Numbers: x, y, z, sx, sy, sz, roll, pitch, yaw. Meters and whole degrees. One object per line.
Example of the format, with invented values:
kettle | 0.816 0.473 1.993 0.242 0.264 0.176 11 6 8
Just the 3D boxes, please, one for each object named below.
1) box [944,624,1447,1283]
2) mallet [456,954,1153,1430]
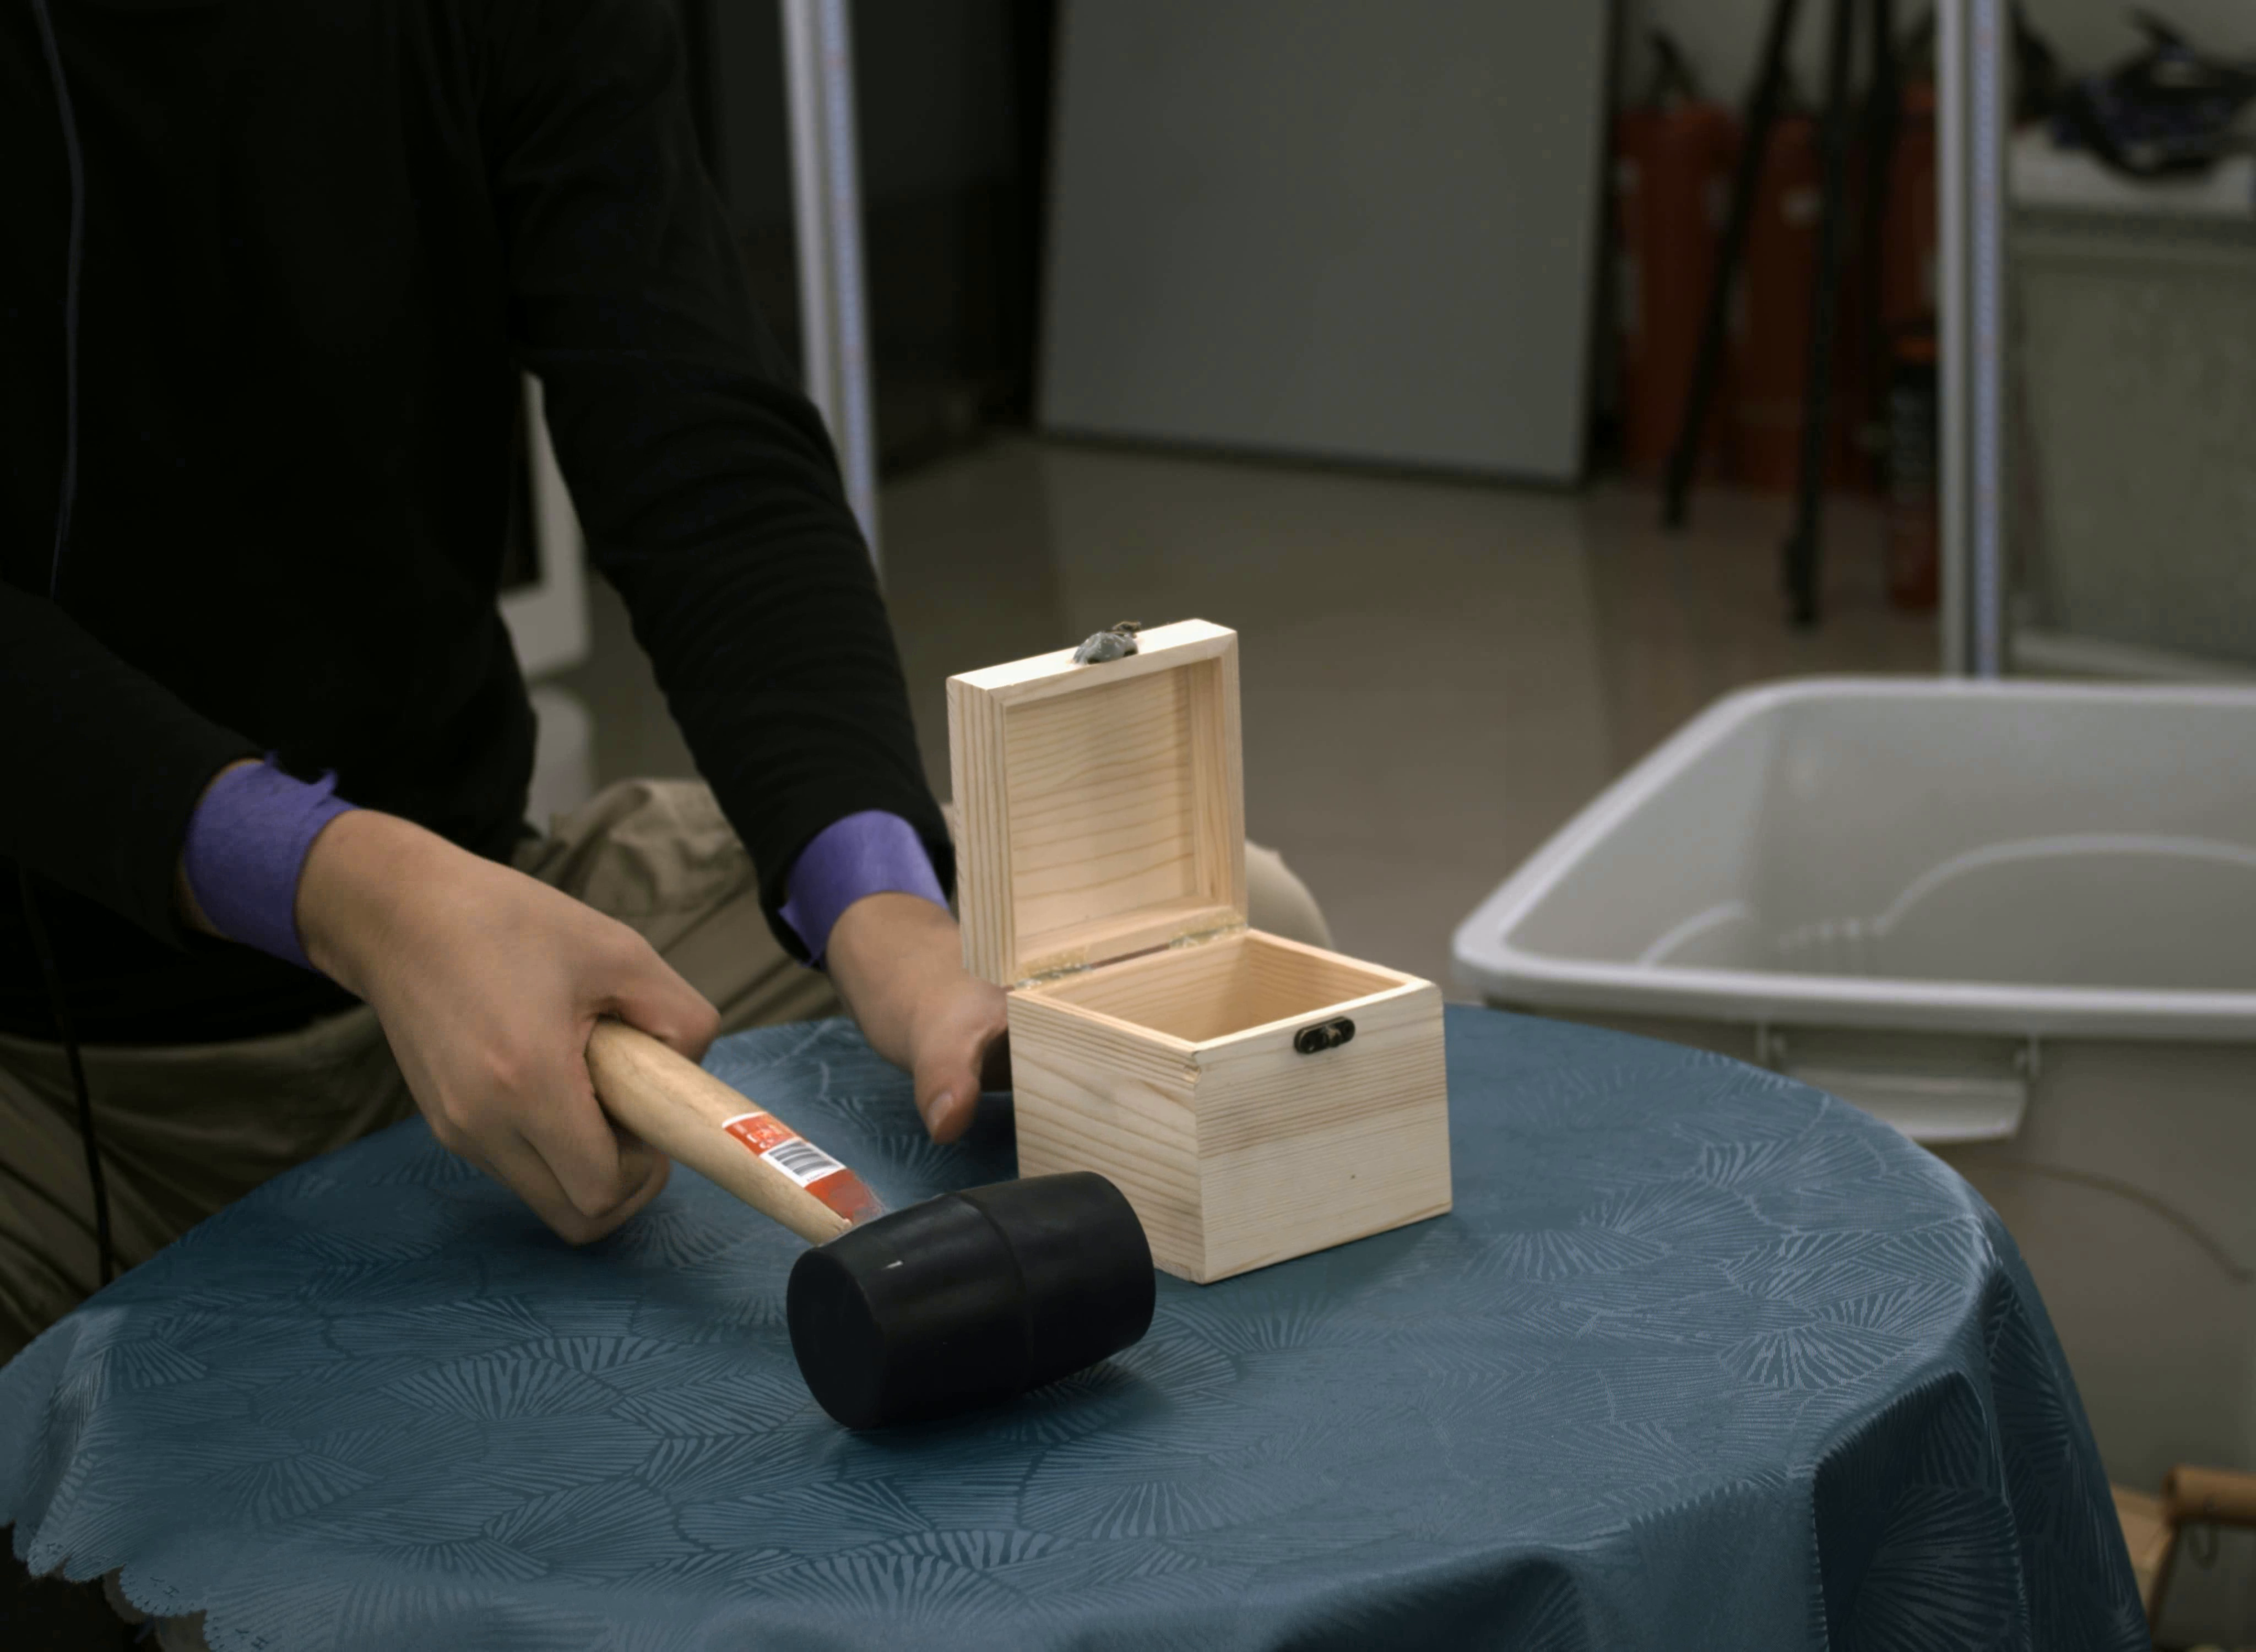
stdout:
box | 0.023 0.037 1.730 0.100 0.186 0.135 -12 13 -34
mallet | -0.122 0.095 1.691 0.099 0.065 0.343 -9 24 -31
